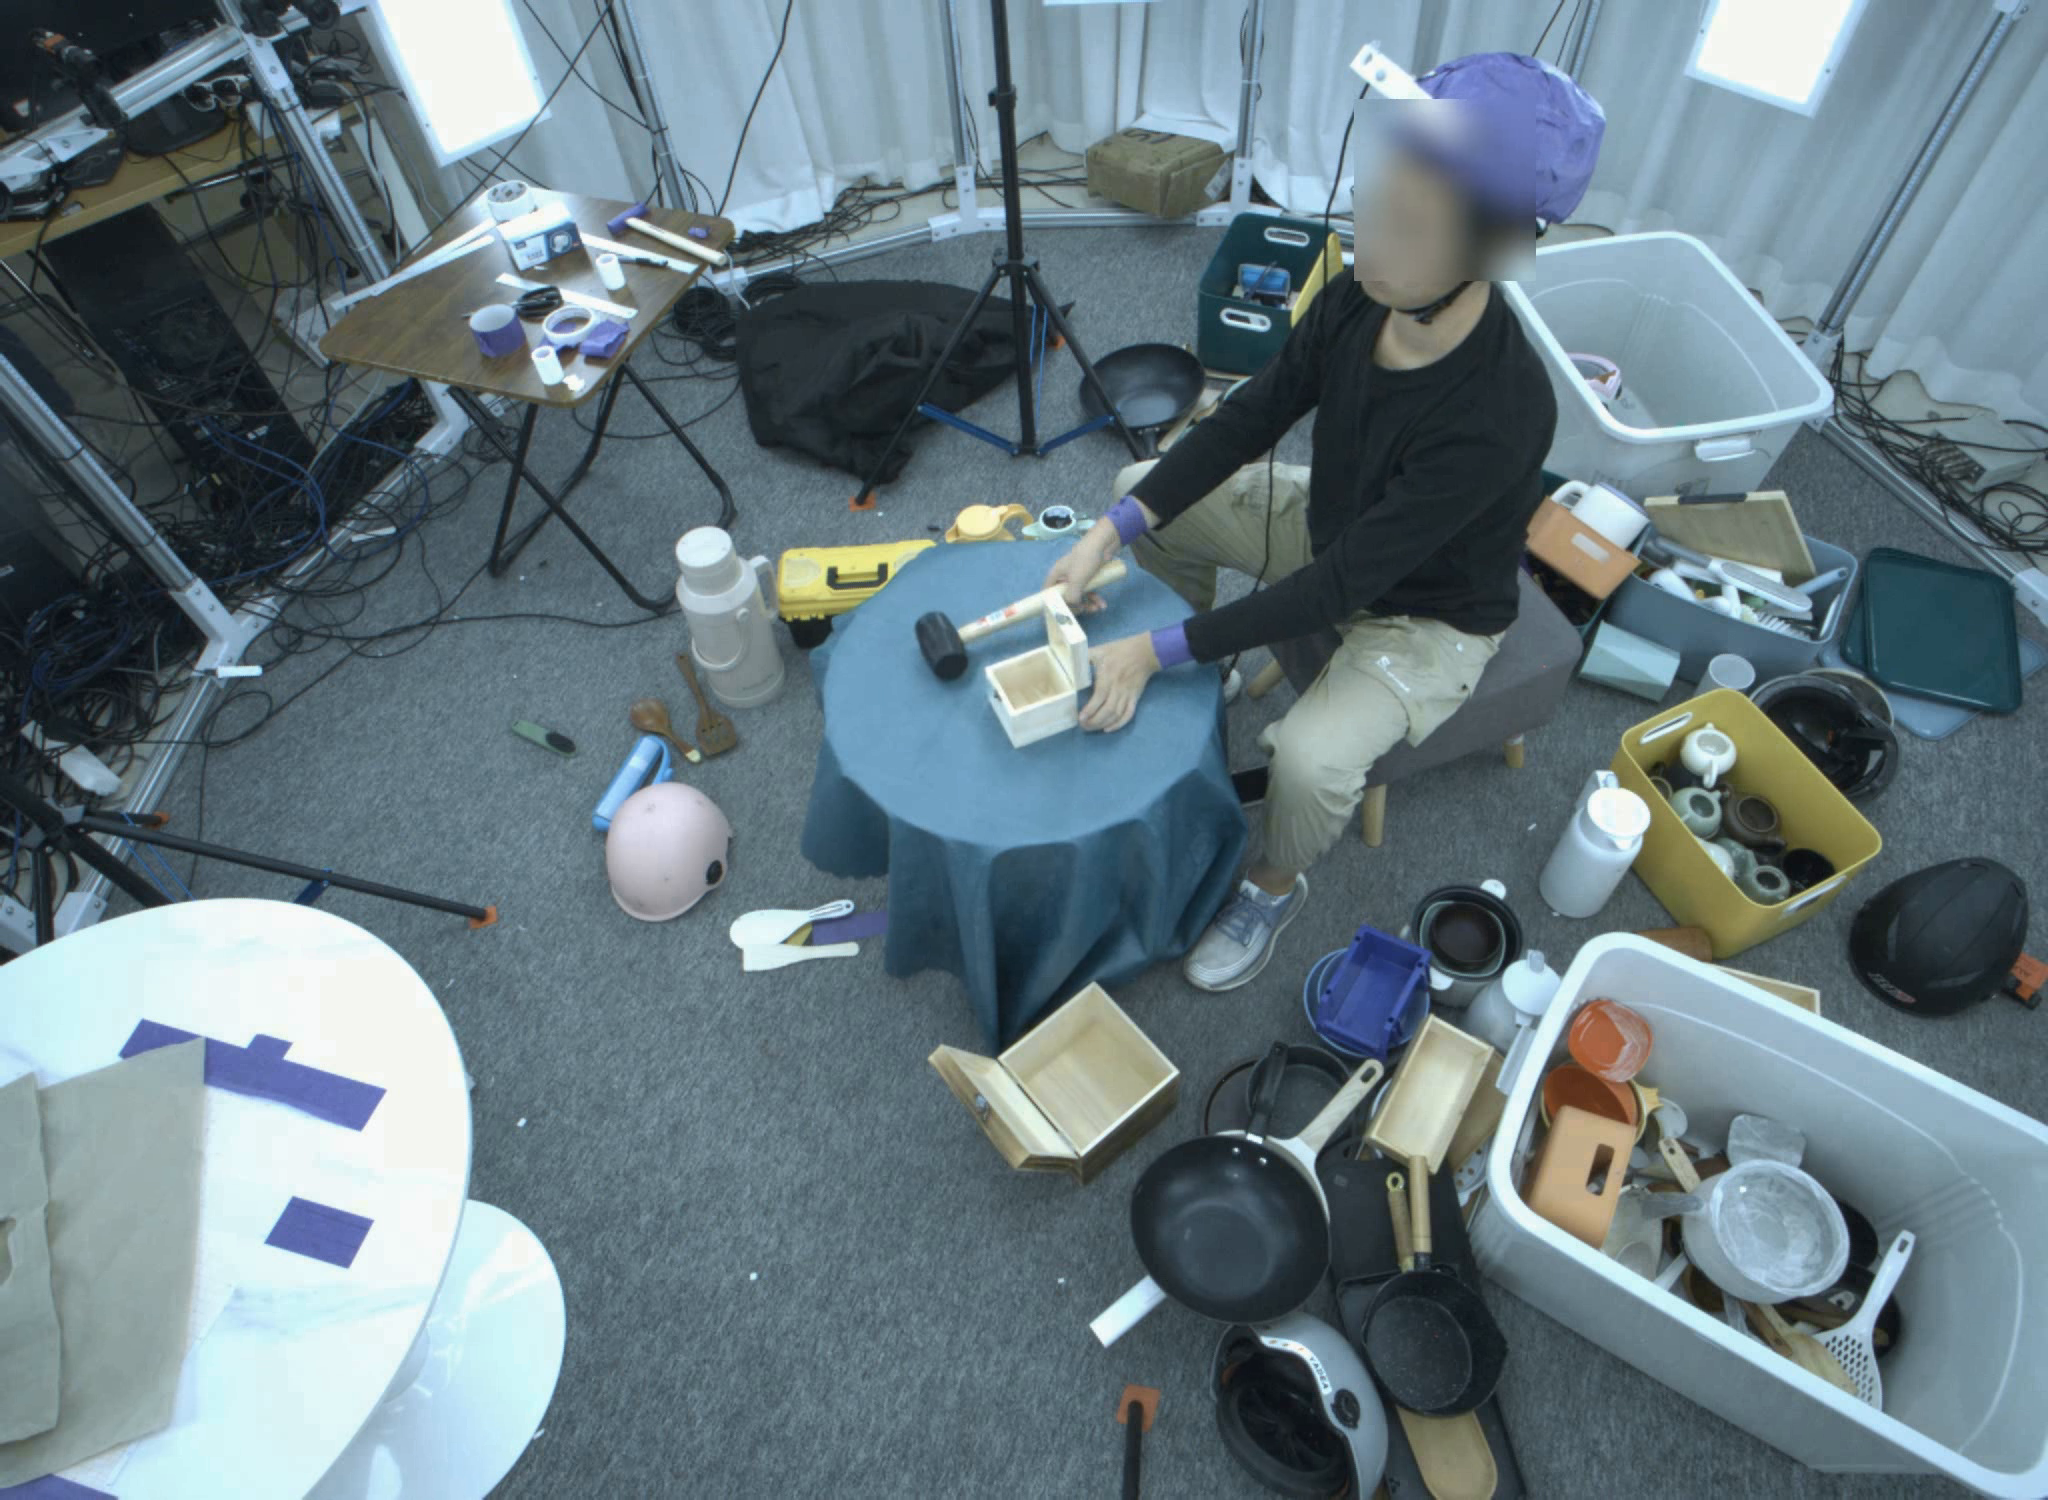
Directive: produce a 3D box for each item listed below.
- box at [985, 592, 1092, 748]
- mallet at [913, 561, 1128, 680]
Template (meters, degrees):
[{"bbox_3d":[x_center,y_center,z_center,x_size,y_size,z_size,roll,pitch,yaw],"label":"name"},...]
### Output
[{"bbox_3d":[0.017,-0.112,1.752,0.135,0.186,0.101,-20,56,-14],"label":"box"},{"bbox_3d":[-0.003,-0.217,1.872,0.339,0.065,0.100,-24,59,-3],"label":"mallet"}]
